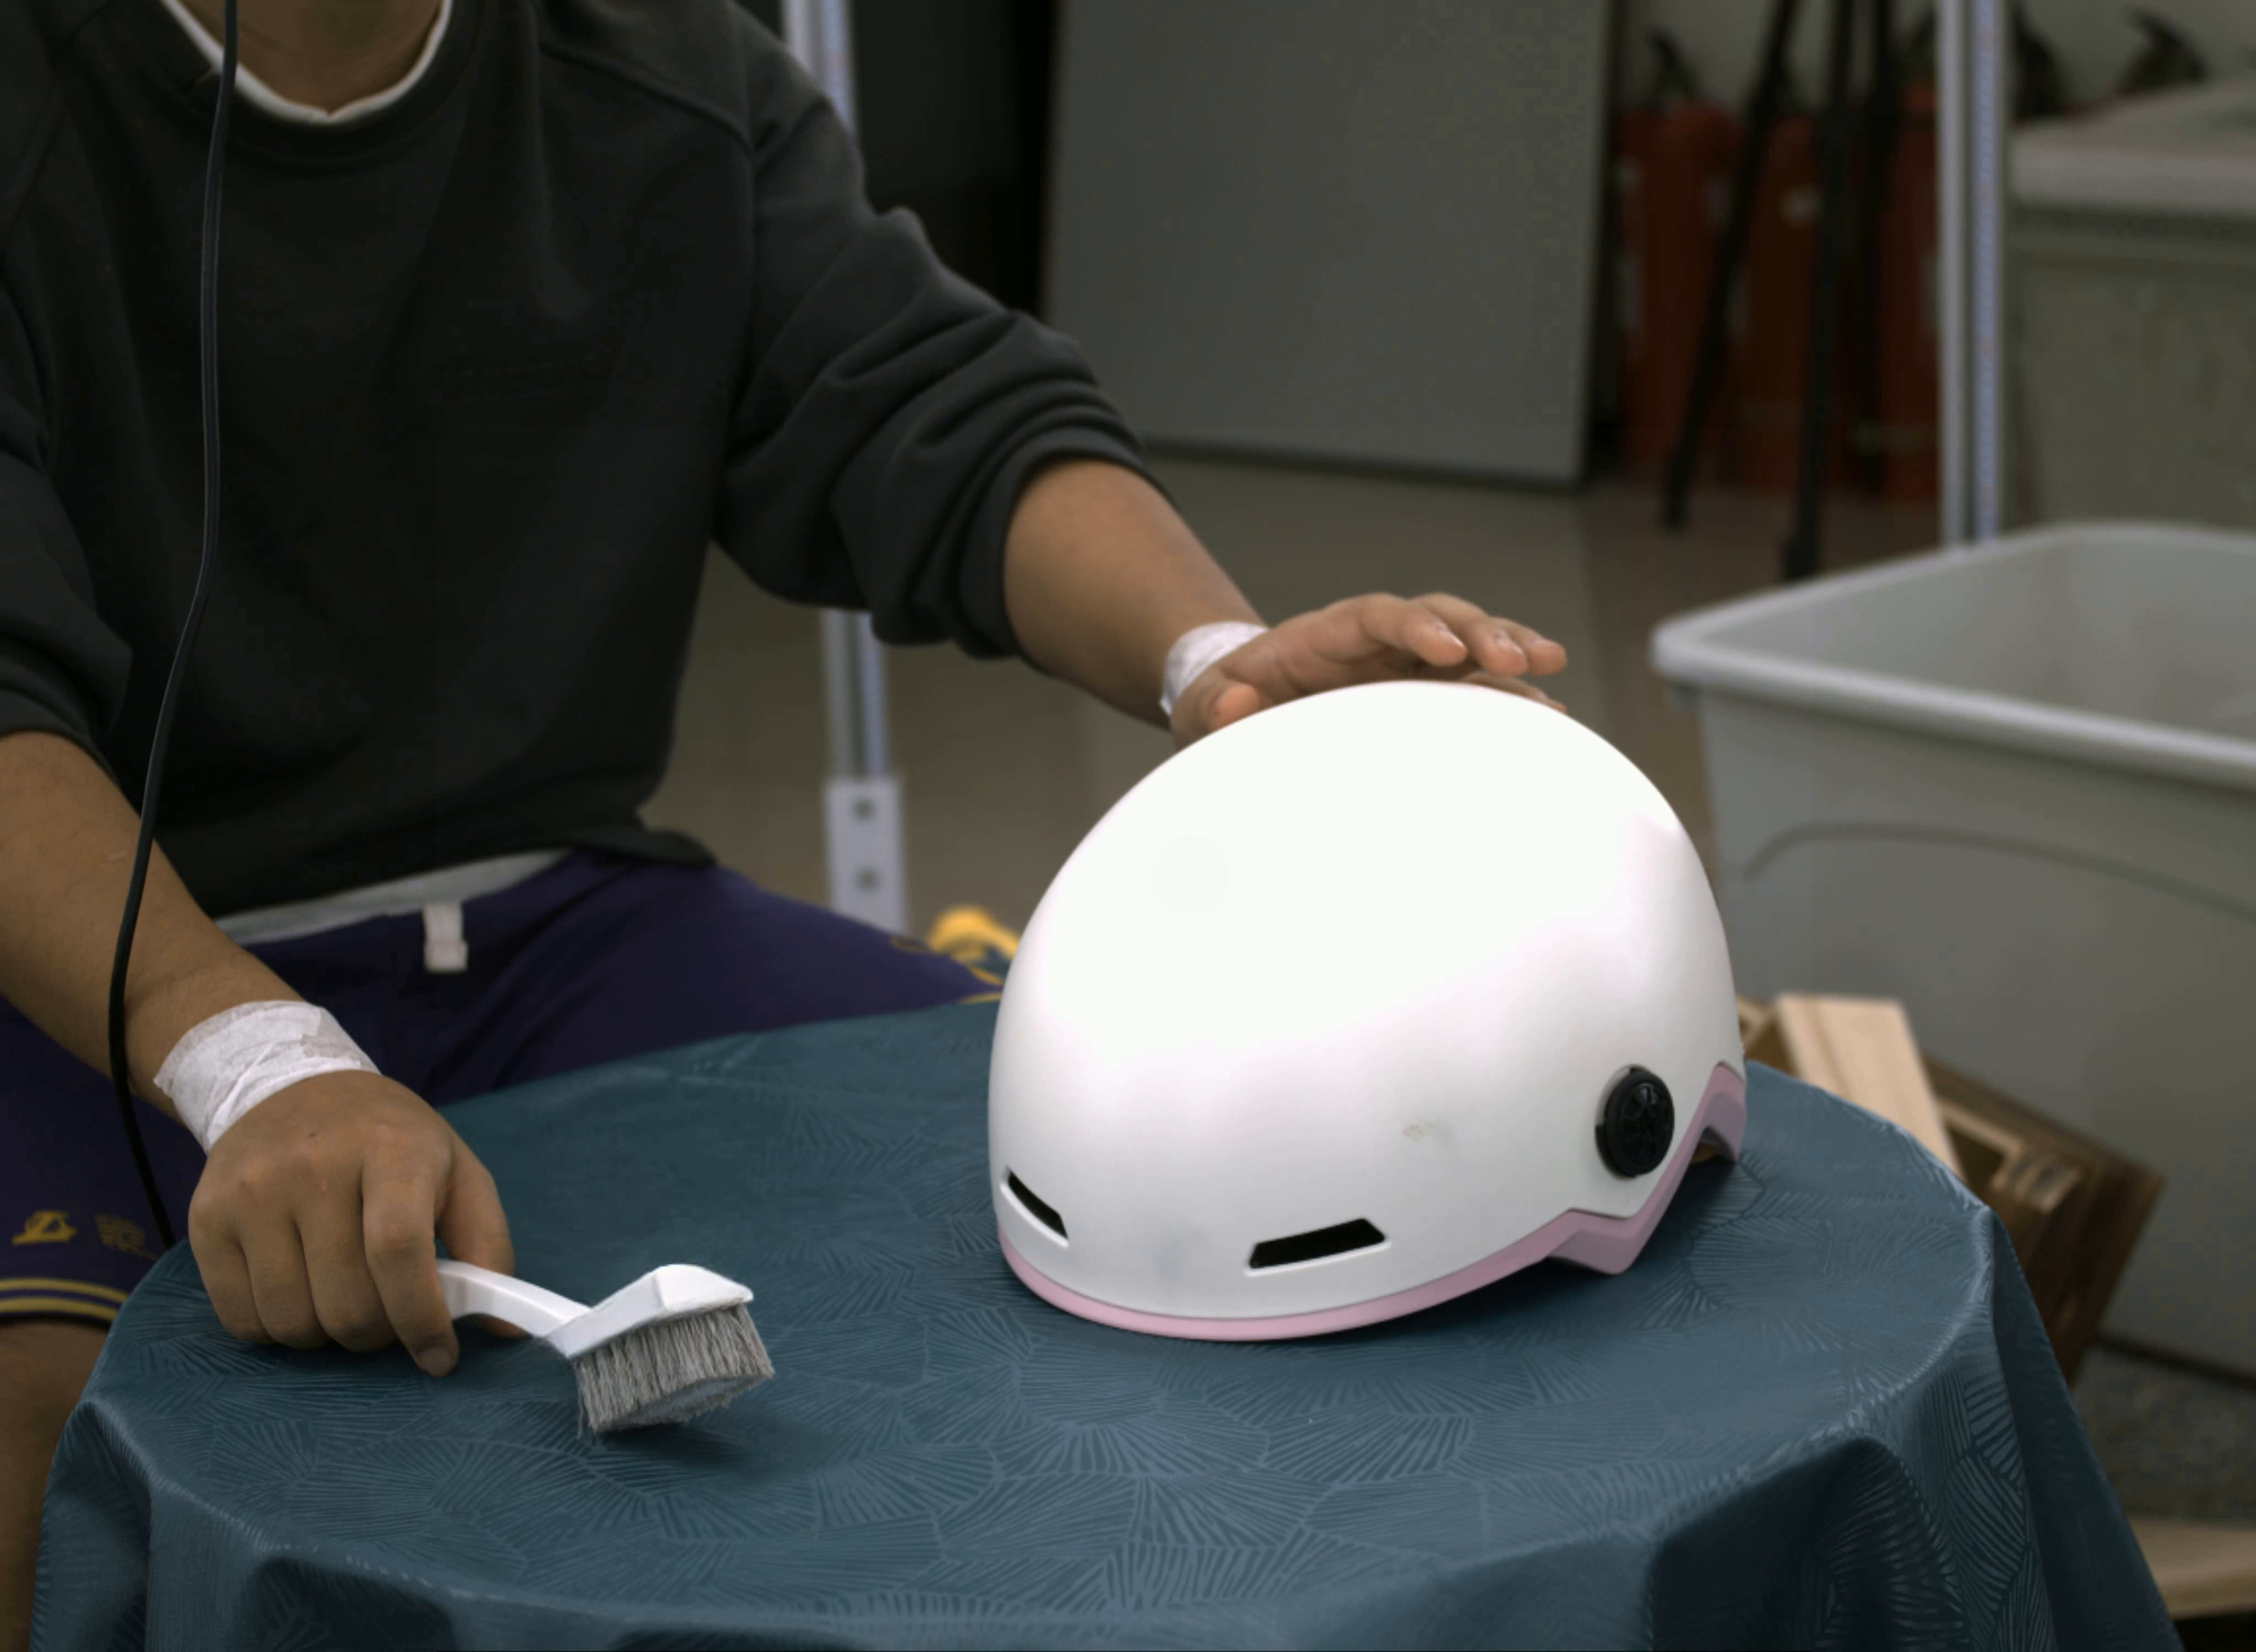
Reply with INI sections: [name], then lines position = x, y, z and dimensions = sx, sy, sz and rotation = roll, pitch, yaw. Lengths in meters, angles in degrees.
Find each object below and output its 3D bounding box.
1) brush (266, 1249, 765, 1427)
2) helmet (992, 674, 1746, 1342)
[brush]
position = -0.189, 0.156, 1.630
dimensions = 0.033, 0.051, 0.246
rotation = 1, -5, -39
[helmet]
position = 0.075, 0.044, 1.714
dimensions = 0.238, 0.169, 0.264
rotation = 6, 17, 35
